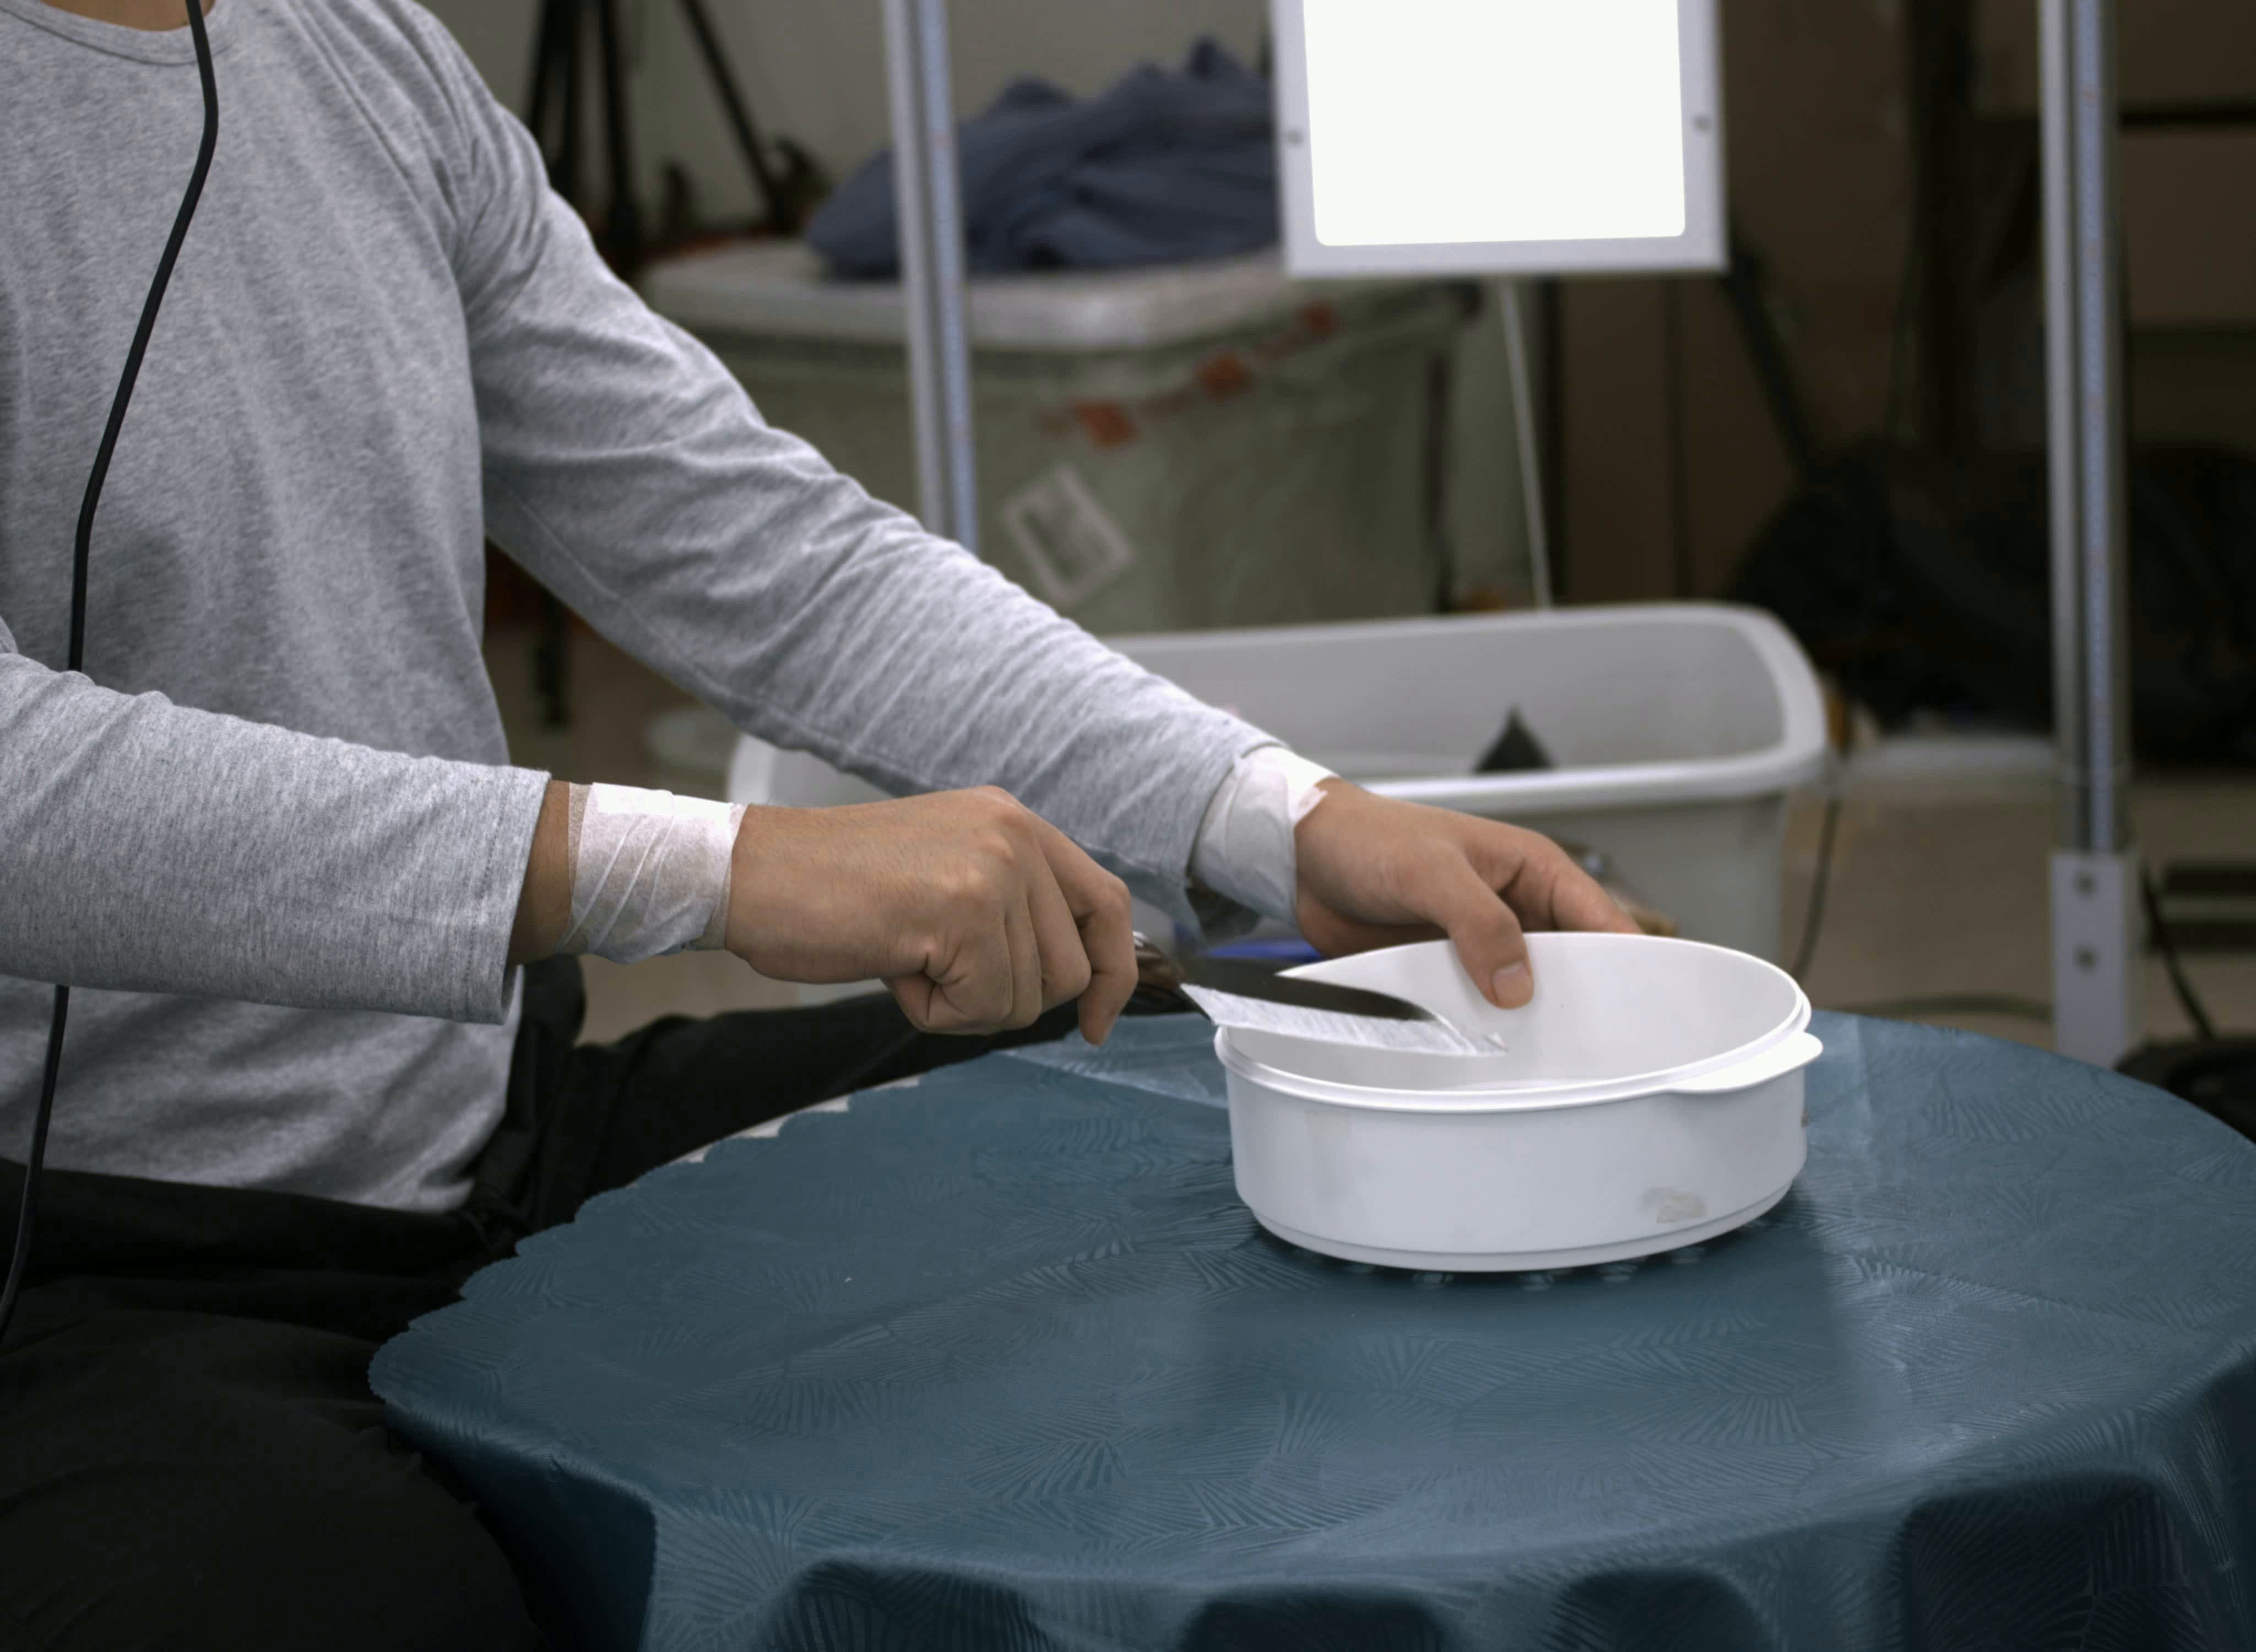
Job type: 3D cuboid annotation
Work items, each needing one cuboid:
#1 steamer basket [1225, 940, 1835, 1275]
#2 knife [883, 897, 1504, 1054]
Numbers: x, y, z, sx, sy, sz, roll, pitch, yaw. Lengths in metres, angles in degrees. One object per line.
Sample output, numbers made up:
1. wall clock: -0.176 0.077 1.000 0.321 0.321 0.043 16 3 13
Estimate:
1. steamer basket: 0.135 0.094 1.846 0.235 0.069 0.197 7 18 44
2. knife: 0.029 0.053 1.817 0.282 0.020 0.051 12 25 -43
